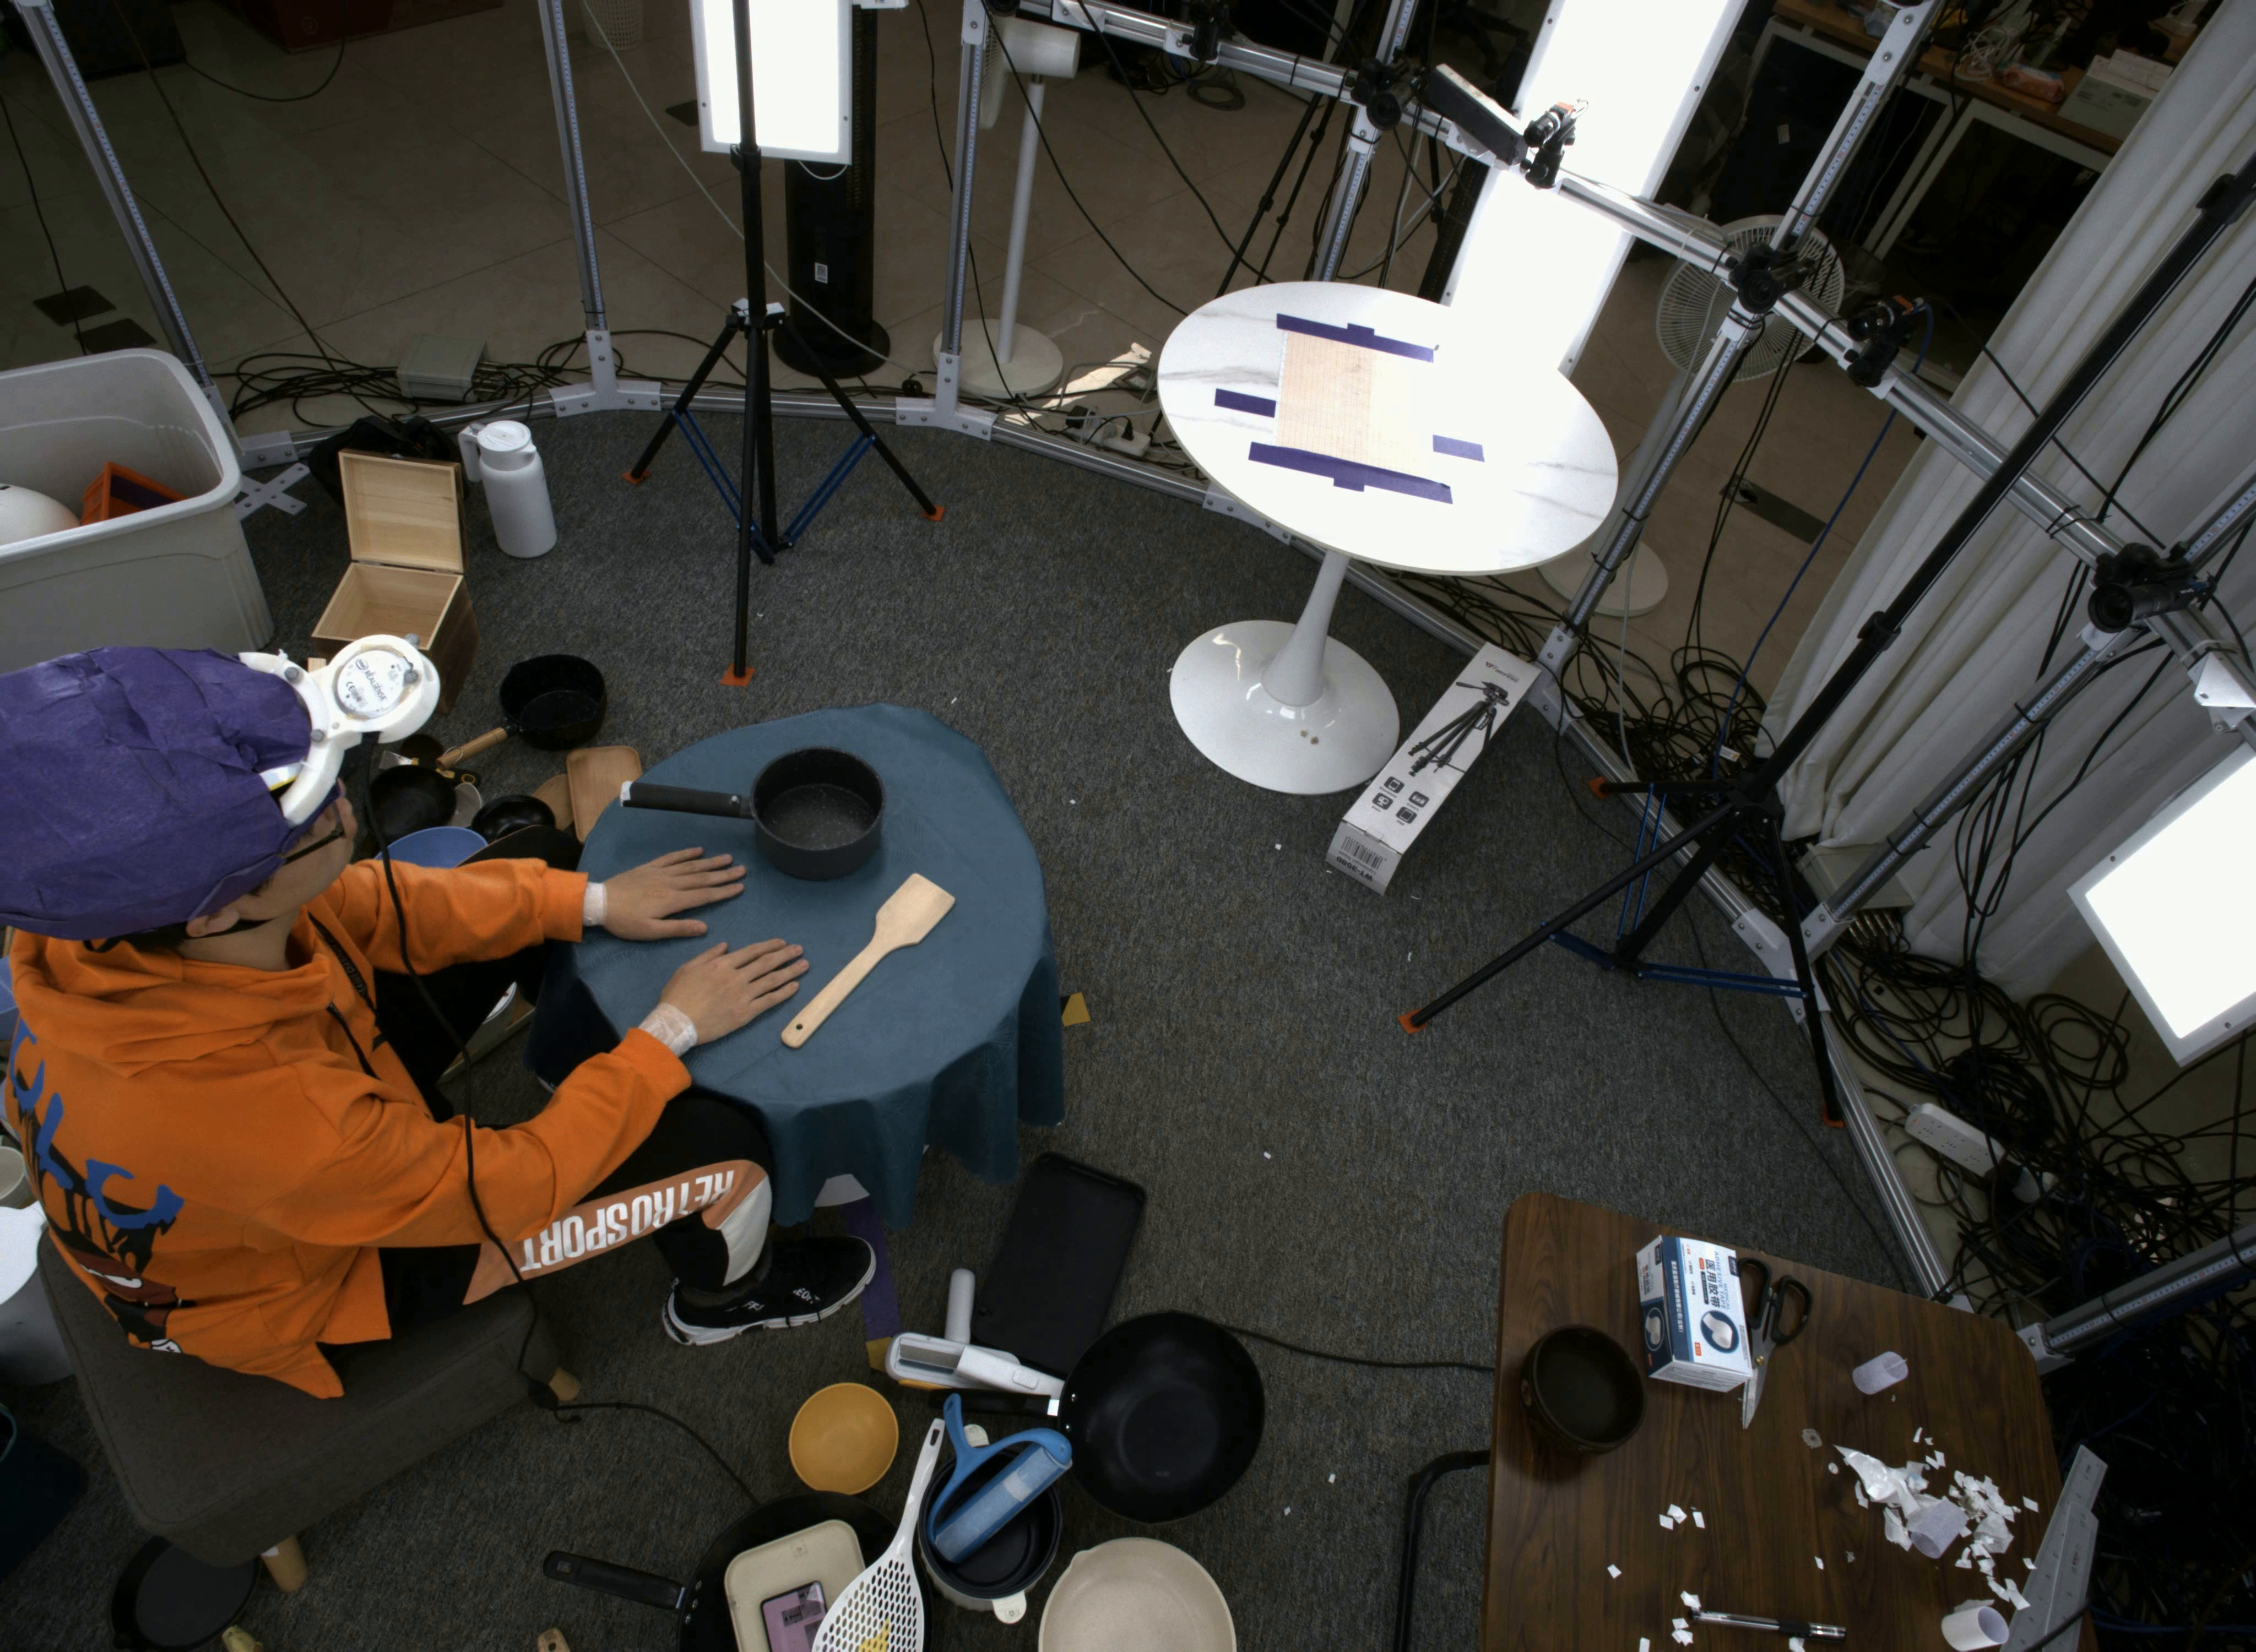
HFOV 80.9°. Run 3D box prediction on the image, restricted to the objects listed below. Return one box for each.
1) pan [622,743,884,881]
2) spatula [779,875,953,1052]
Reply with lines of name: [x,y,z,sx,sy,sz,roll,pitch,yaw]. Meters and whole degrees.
pan: [-0.481,-0.022,1.661,0.329,0.088,0.168,4,52,-14]
spatula: [-0.327,0.169,1.607,0.071,0.011,0.292,35,53,7]
